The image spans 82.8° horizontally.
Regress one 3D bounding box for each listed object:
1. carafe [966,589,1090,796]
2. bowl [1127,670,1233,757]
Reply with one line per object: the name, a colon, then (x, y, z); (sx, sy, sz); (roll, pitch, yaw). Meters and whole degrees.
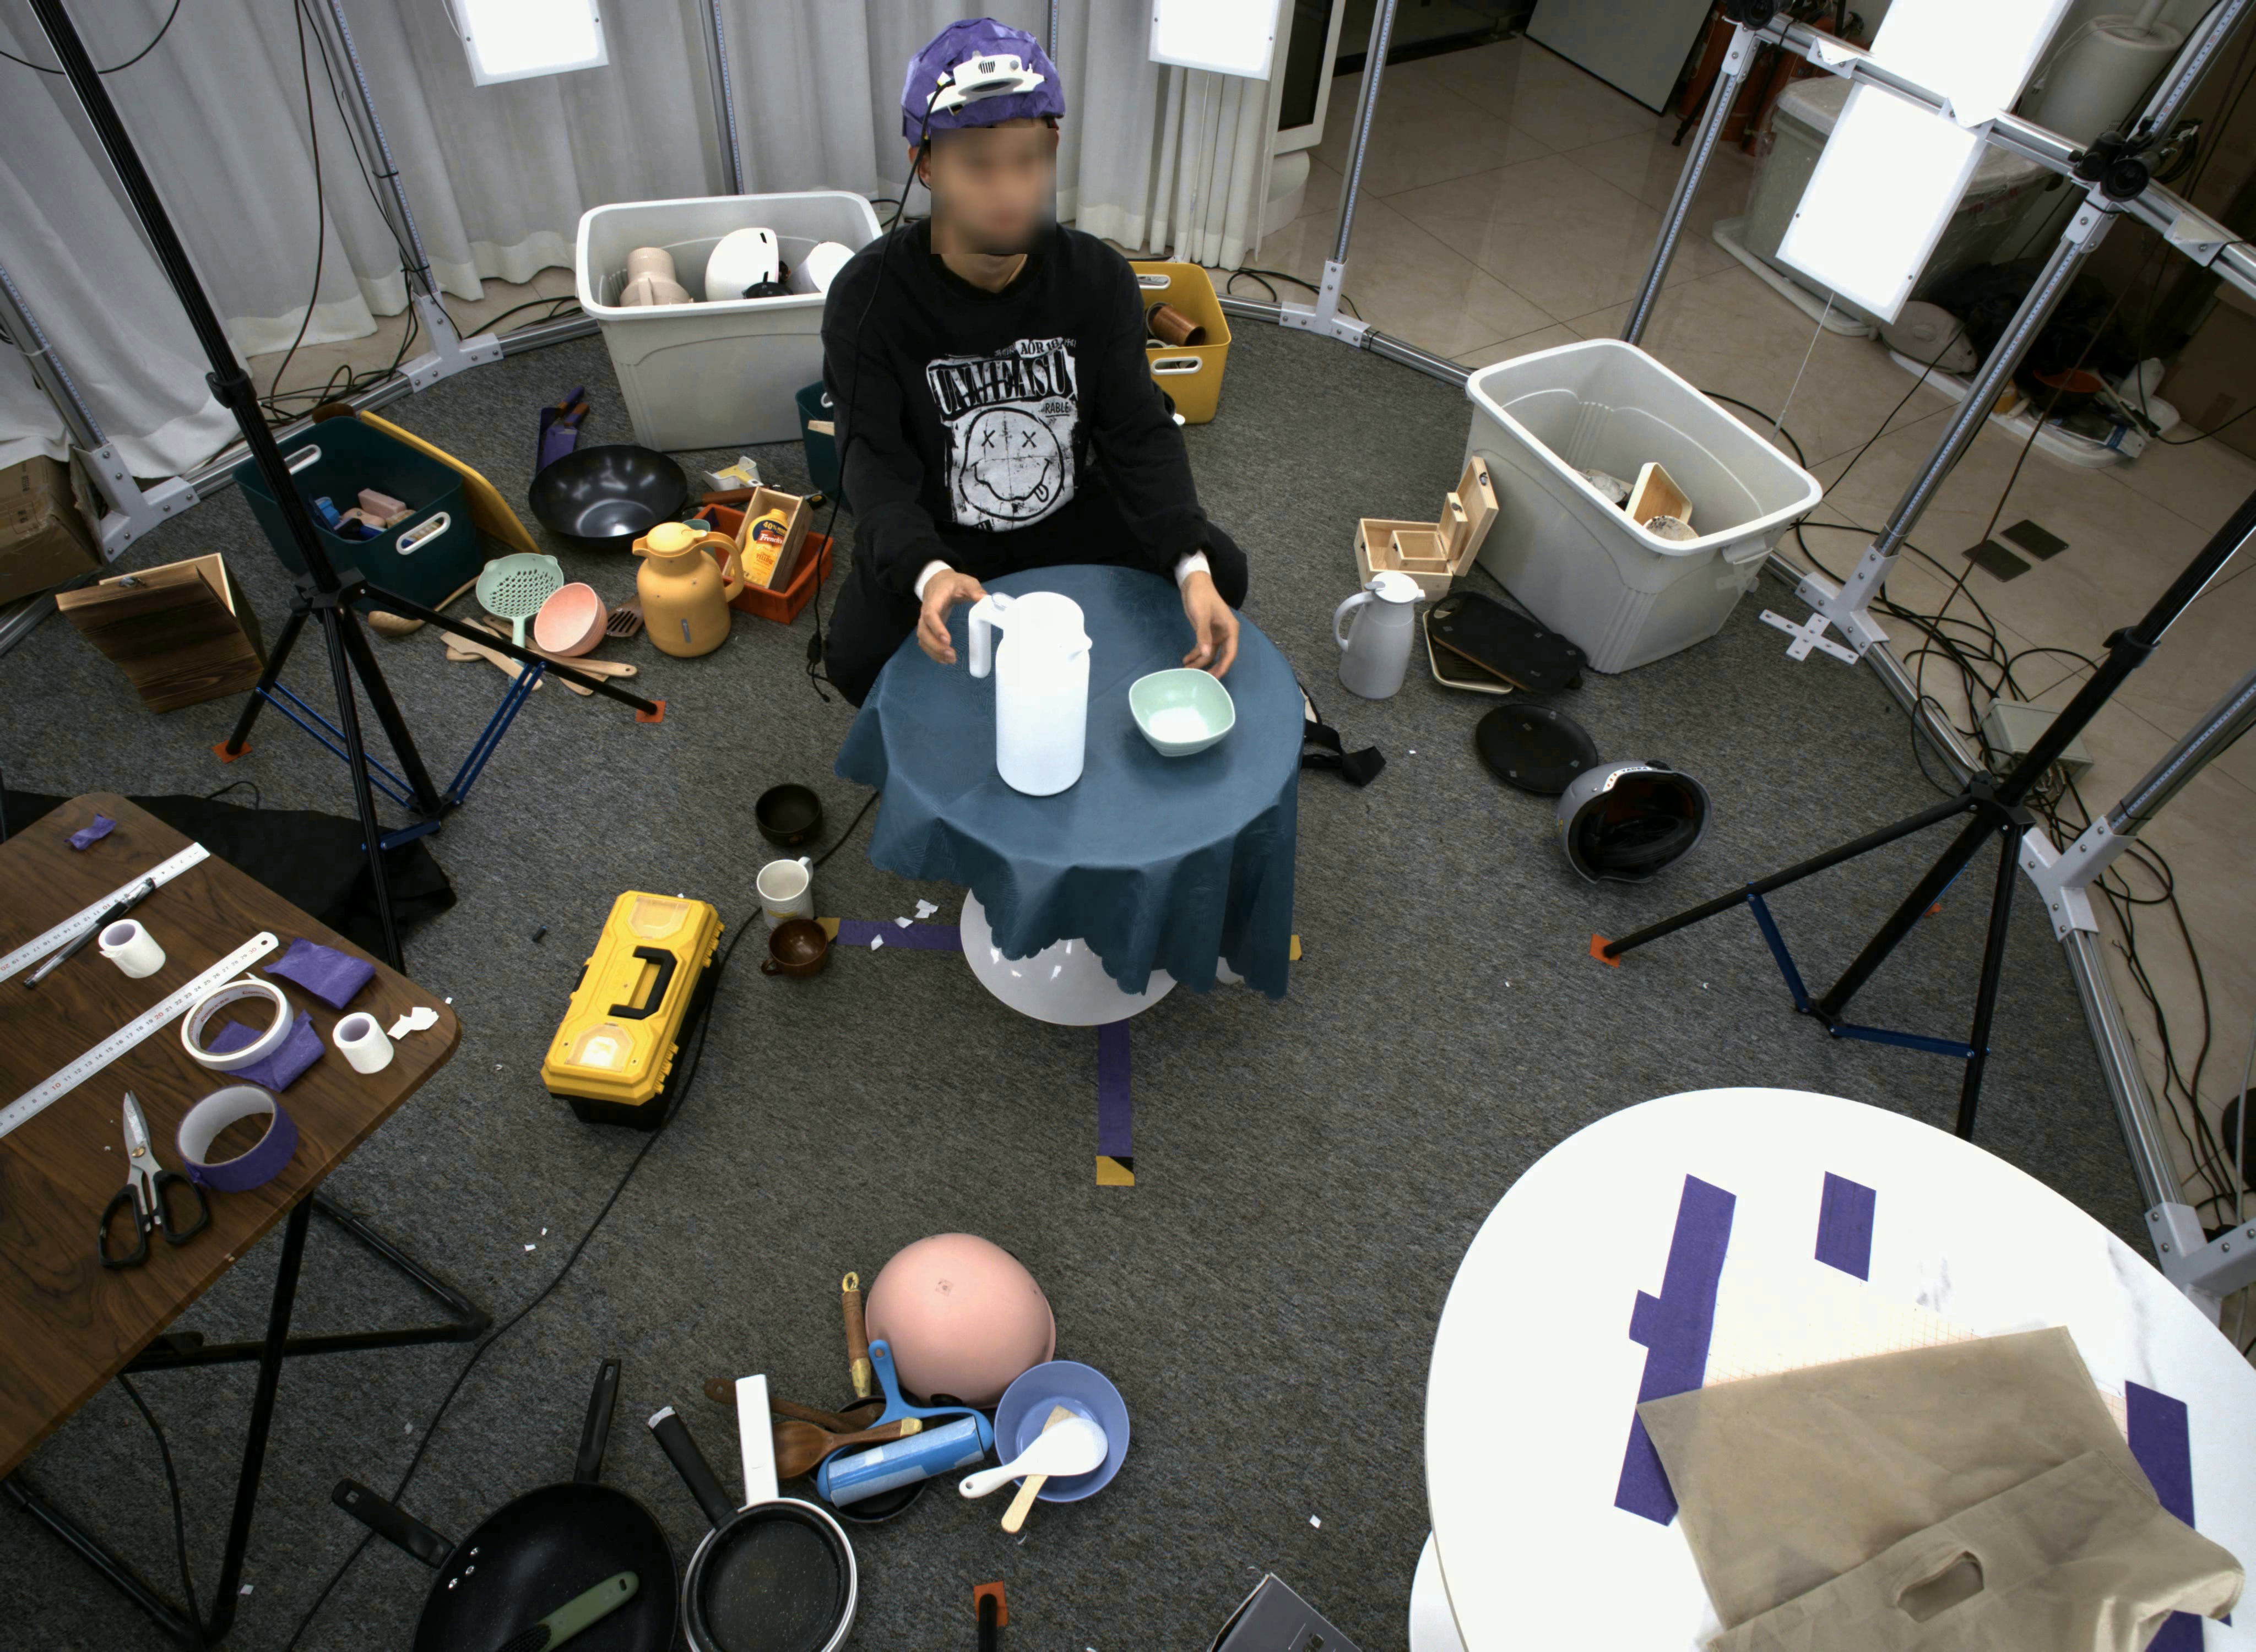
carafe: (-0.127, -0.171, 1.638); (0.174, 0.262, 0.126); (27, 55, 18)
bowl: (0.069, -0.146, 1.766); (0.151, 0.057, 0.155); (2, 49, -2)
